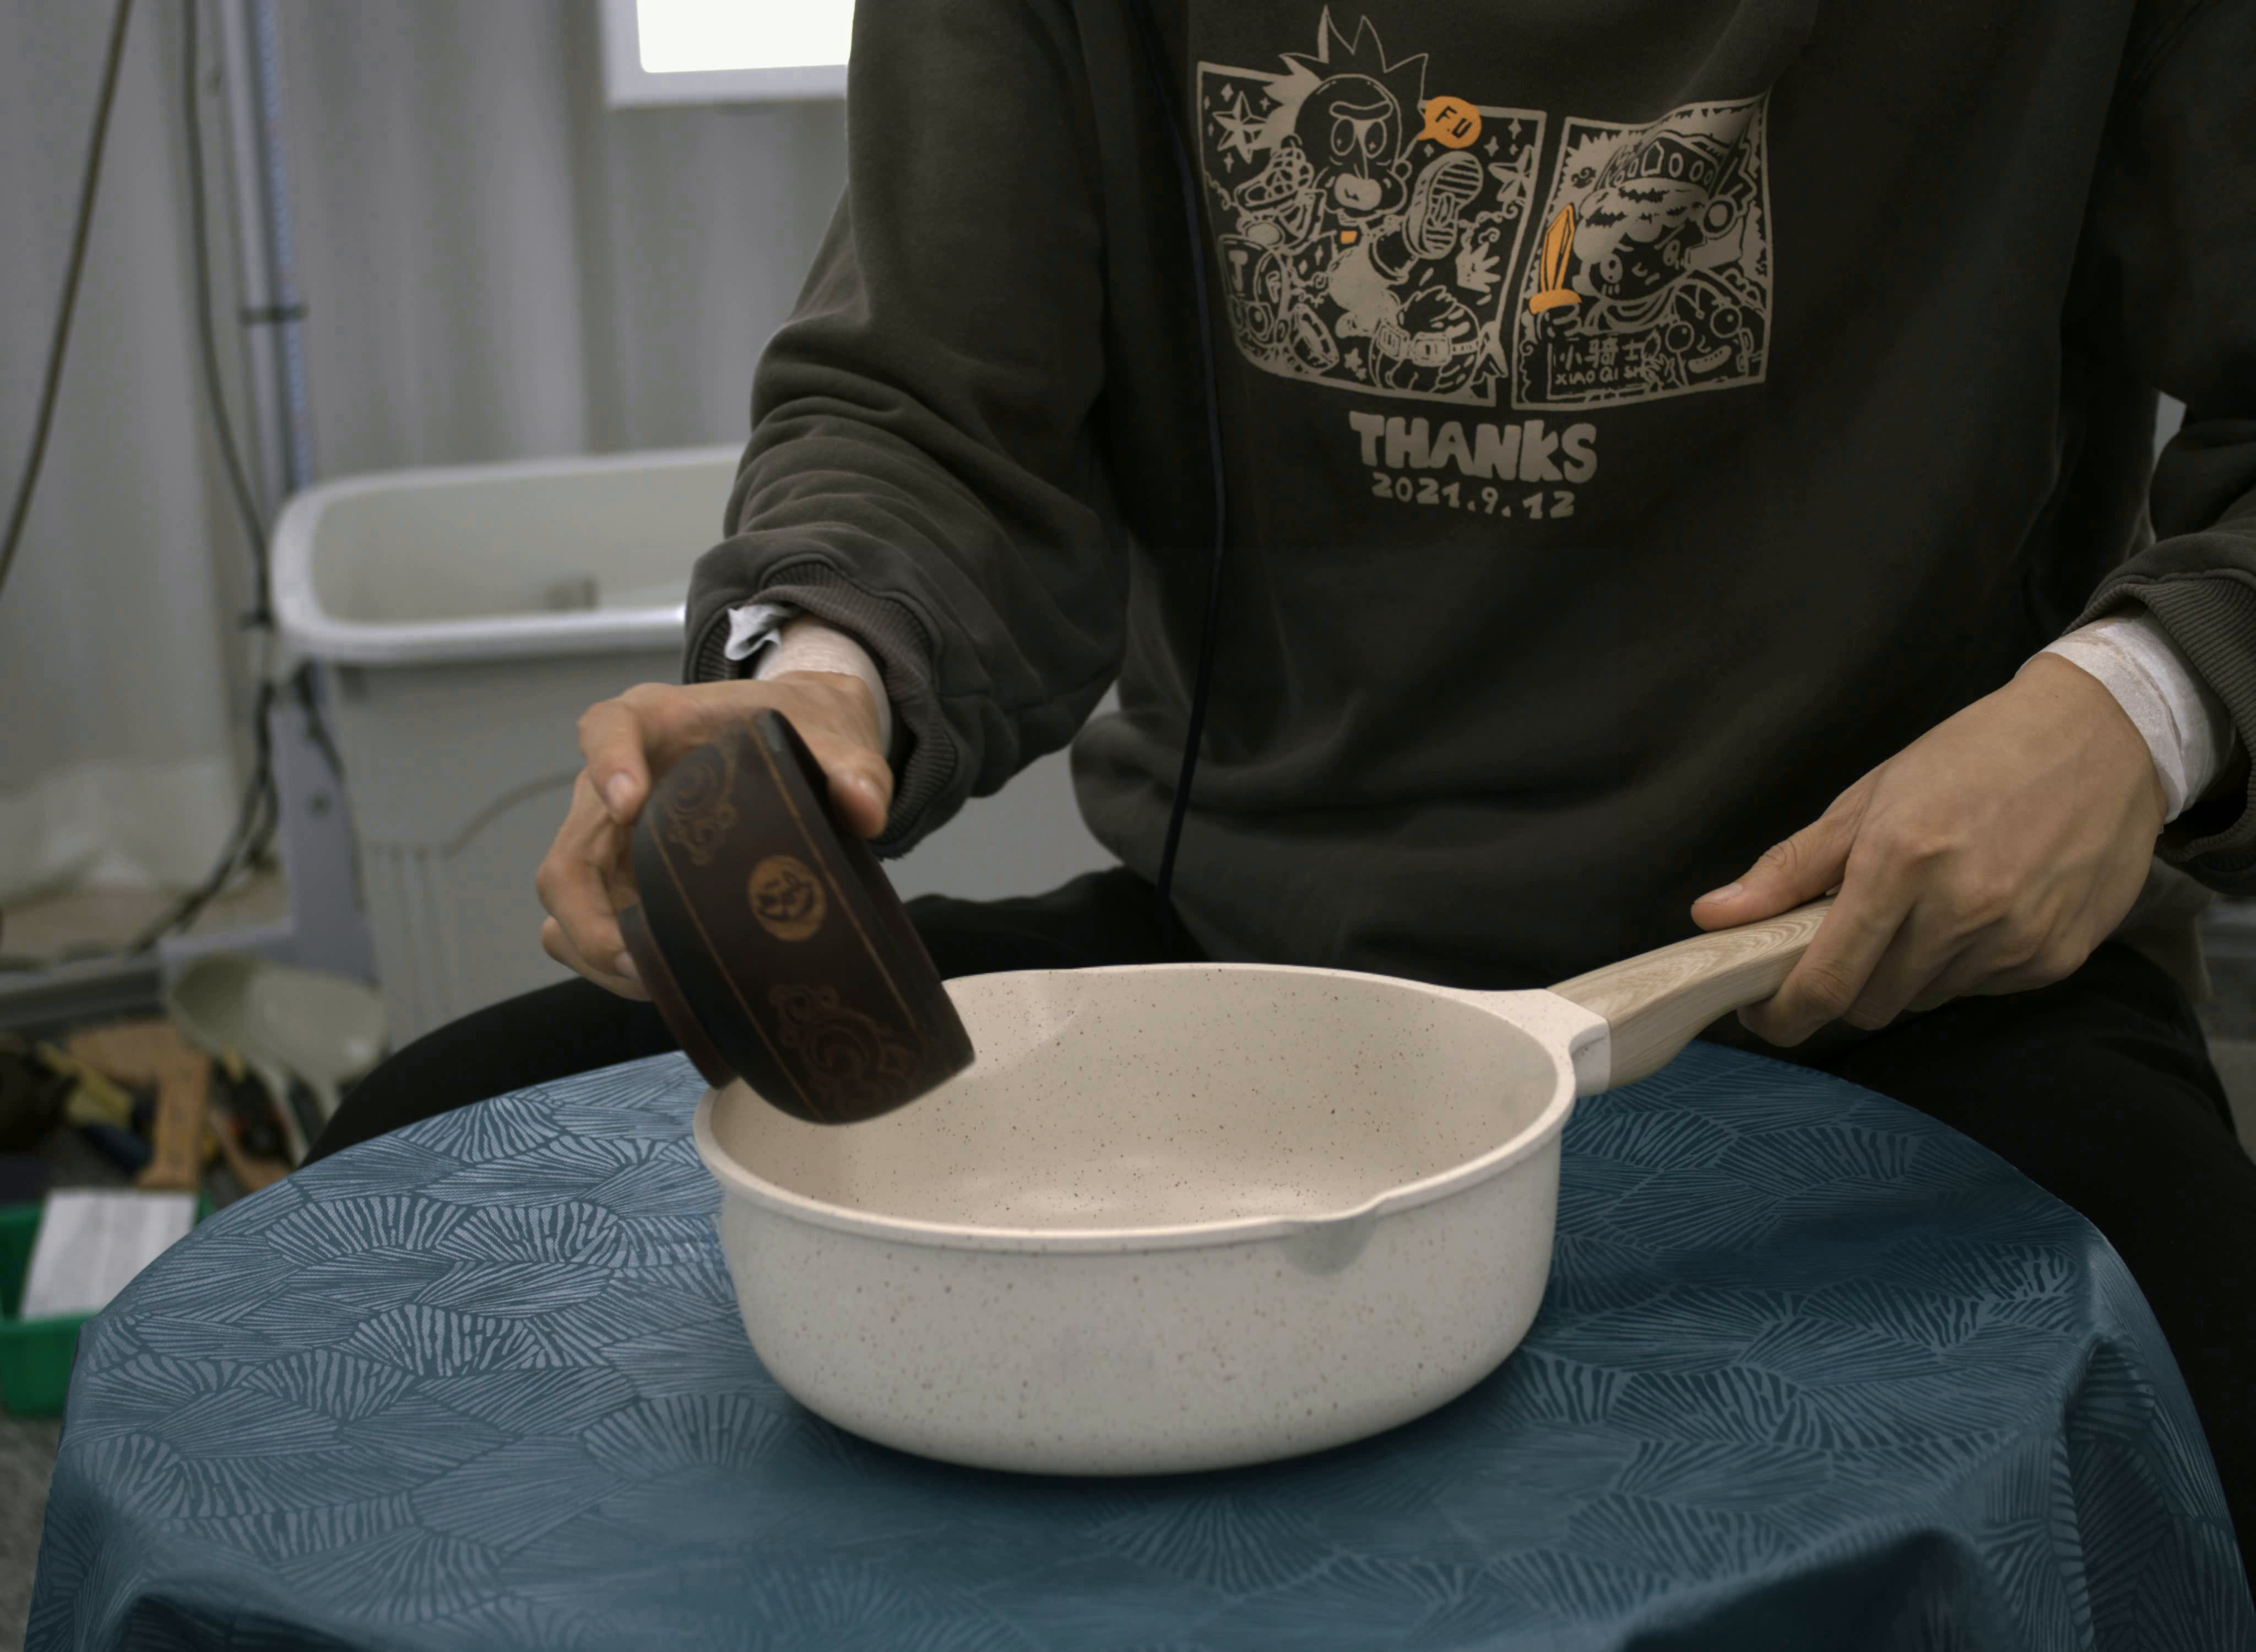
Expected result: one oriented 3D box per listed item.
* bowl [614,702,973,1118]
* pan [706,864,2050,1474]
[{"bbox_3d":[-0.102,0.031,1.547,0.070,0.117,0.119,-31,17,-1],"label":"bowl"},{"bbox_3d":[0.089,0.094,1.596,0.433,0.101,0.265,-9,14,-24],"label":"pan"}]
